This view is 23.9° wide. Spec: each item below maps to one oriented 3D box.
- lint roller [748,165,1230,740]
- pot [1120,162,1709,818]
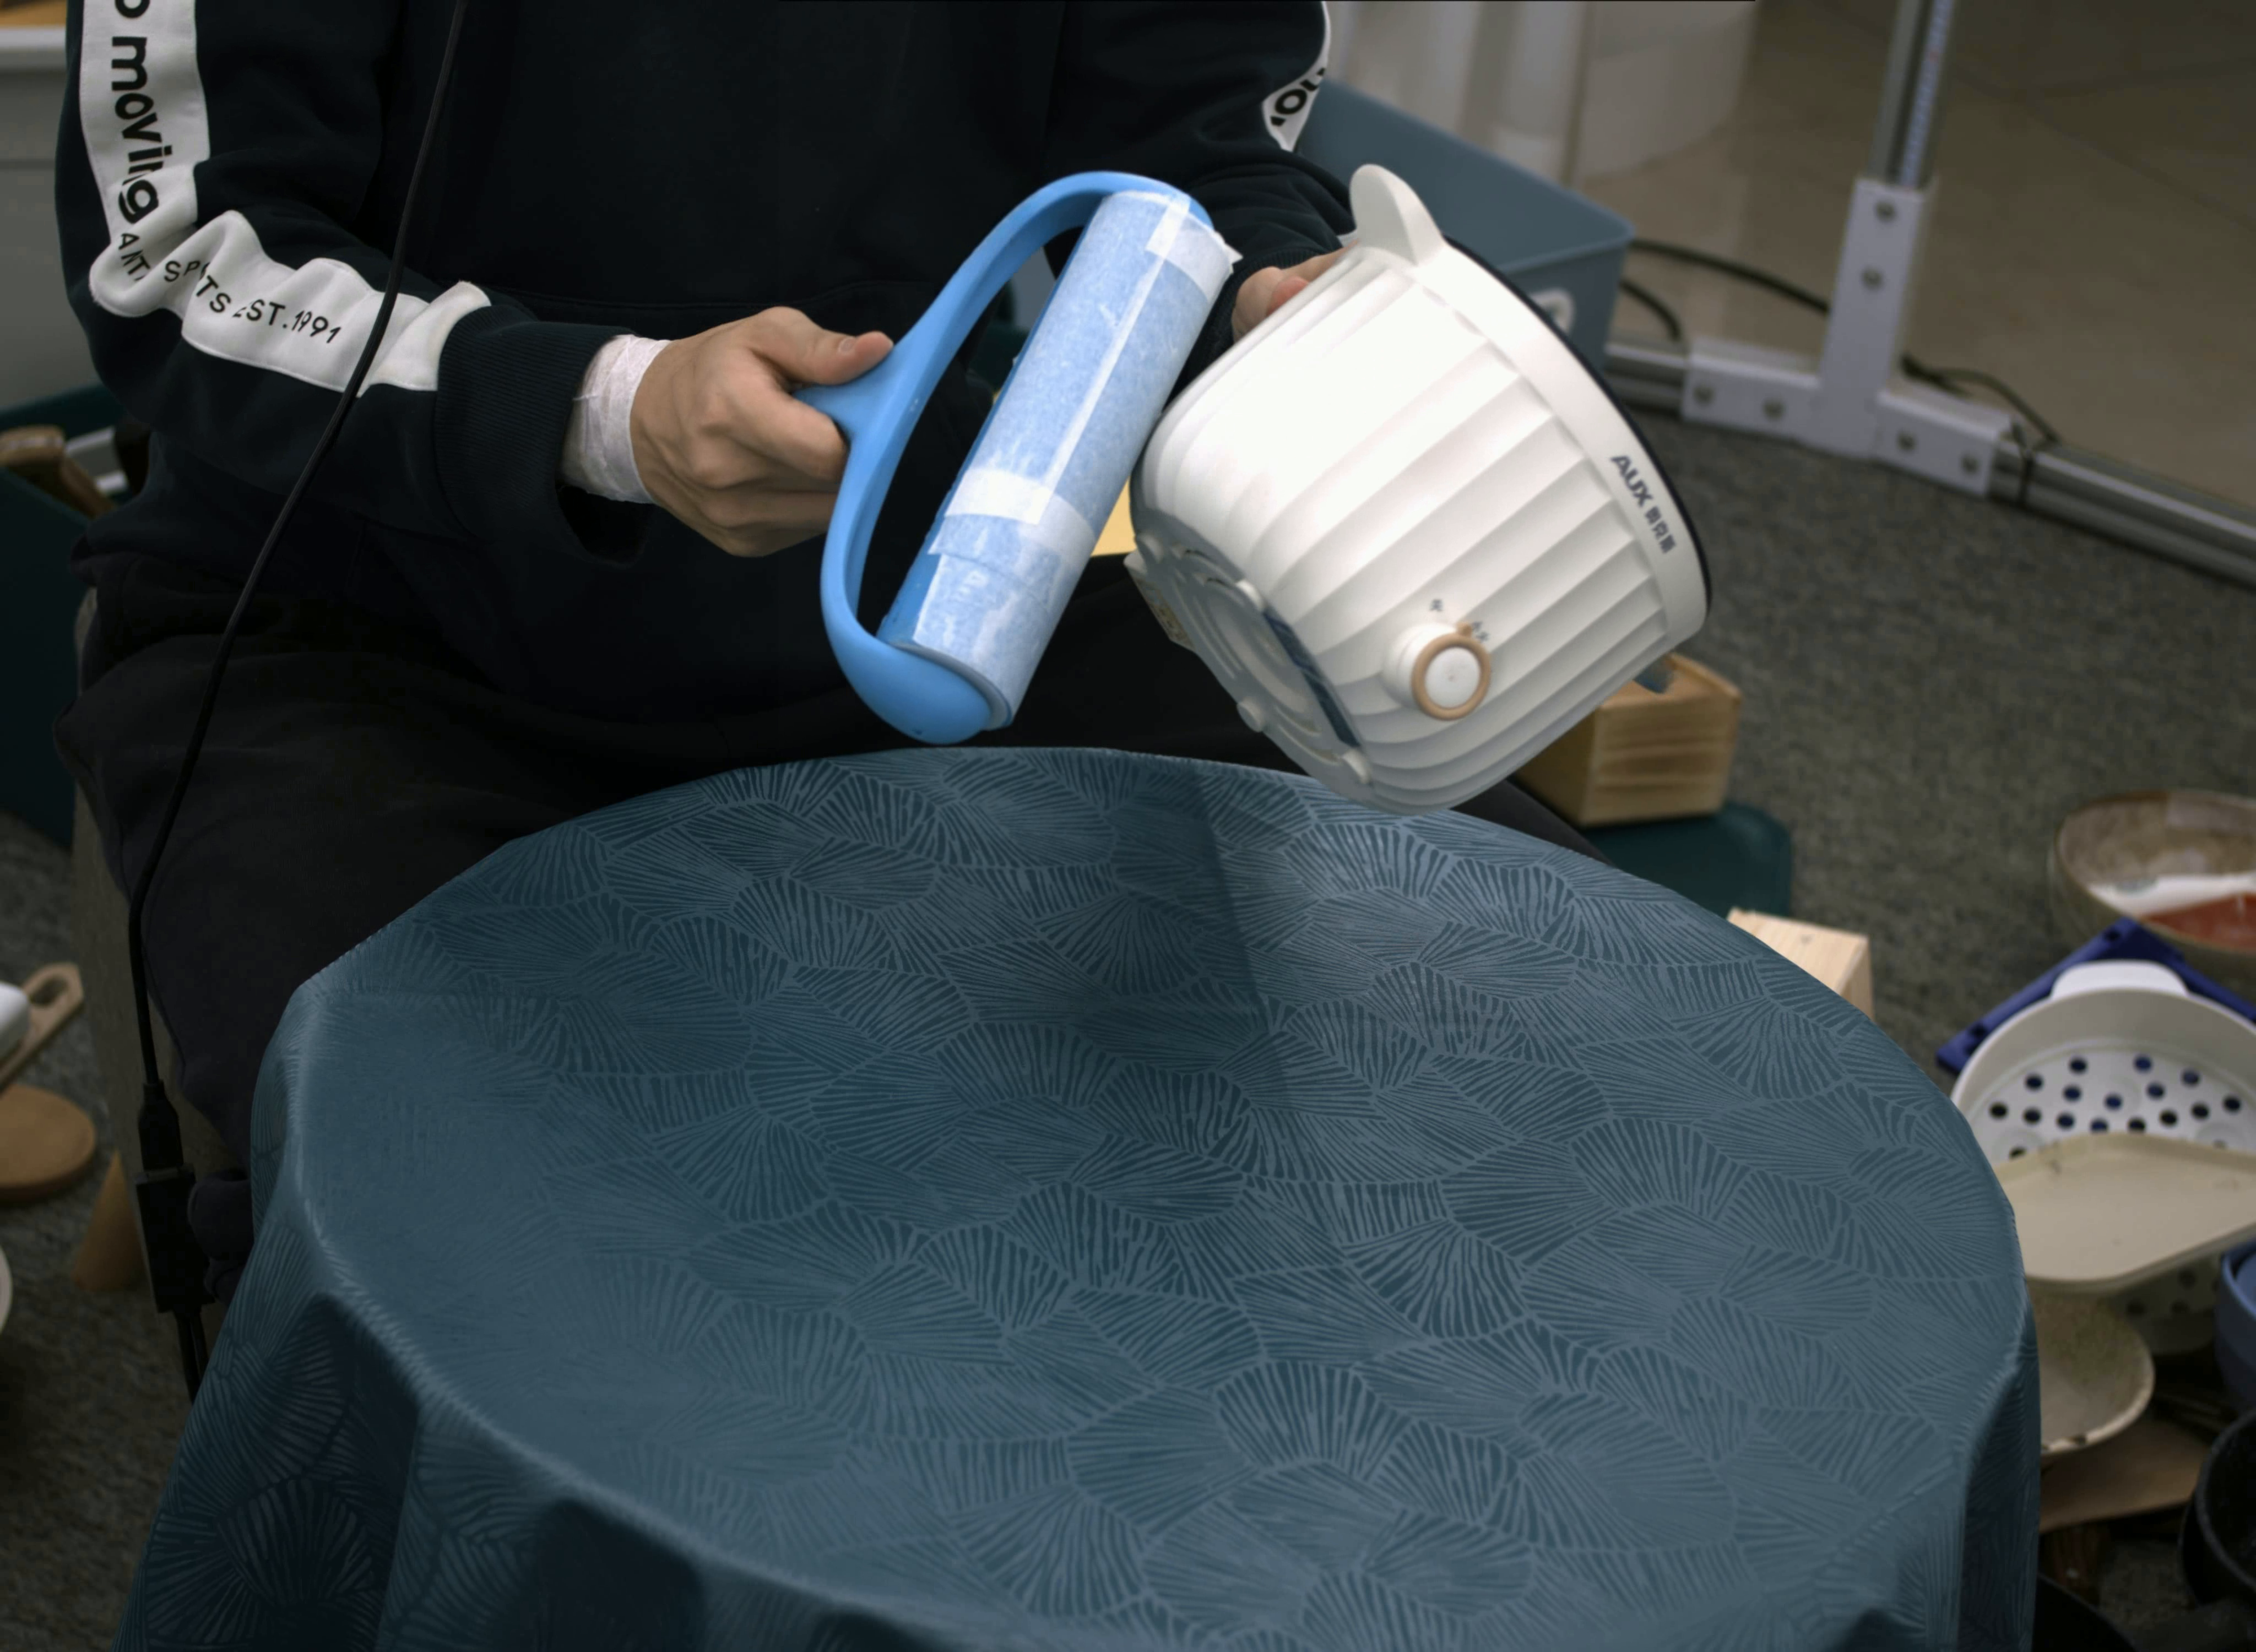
[{"bbox_3d":[-0.074,-0.132,1.862,0.181,0.067,0.230,4,60,34],"label":"lint roller"},{"bbox_3d":[0.095,-0.096,1.854,0.142,0.239,0.192,-41,29,-14],"label":"pot"}]
